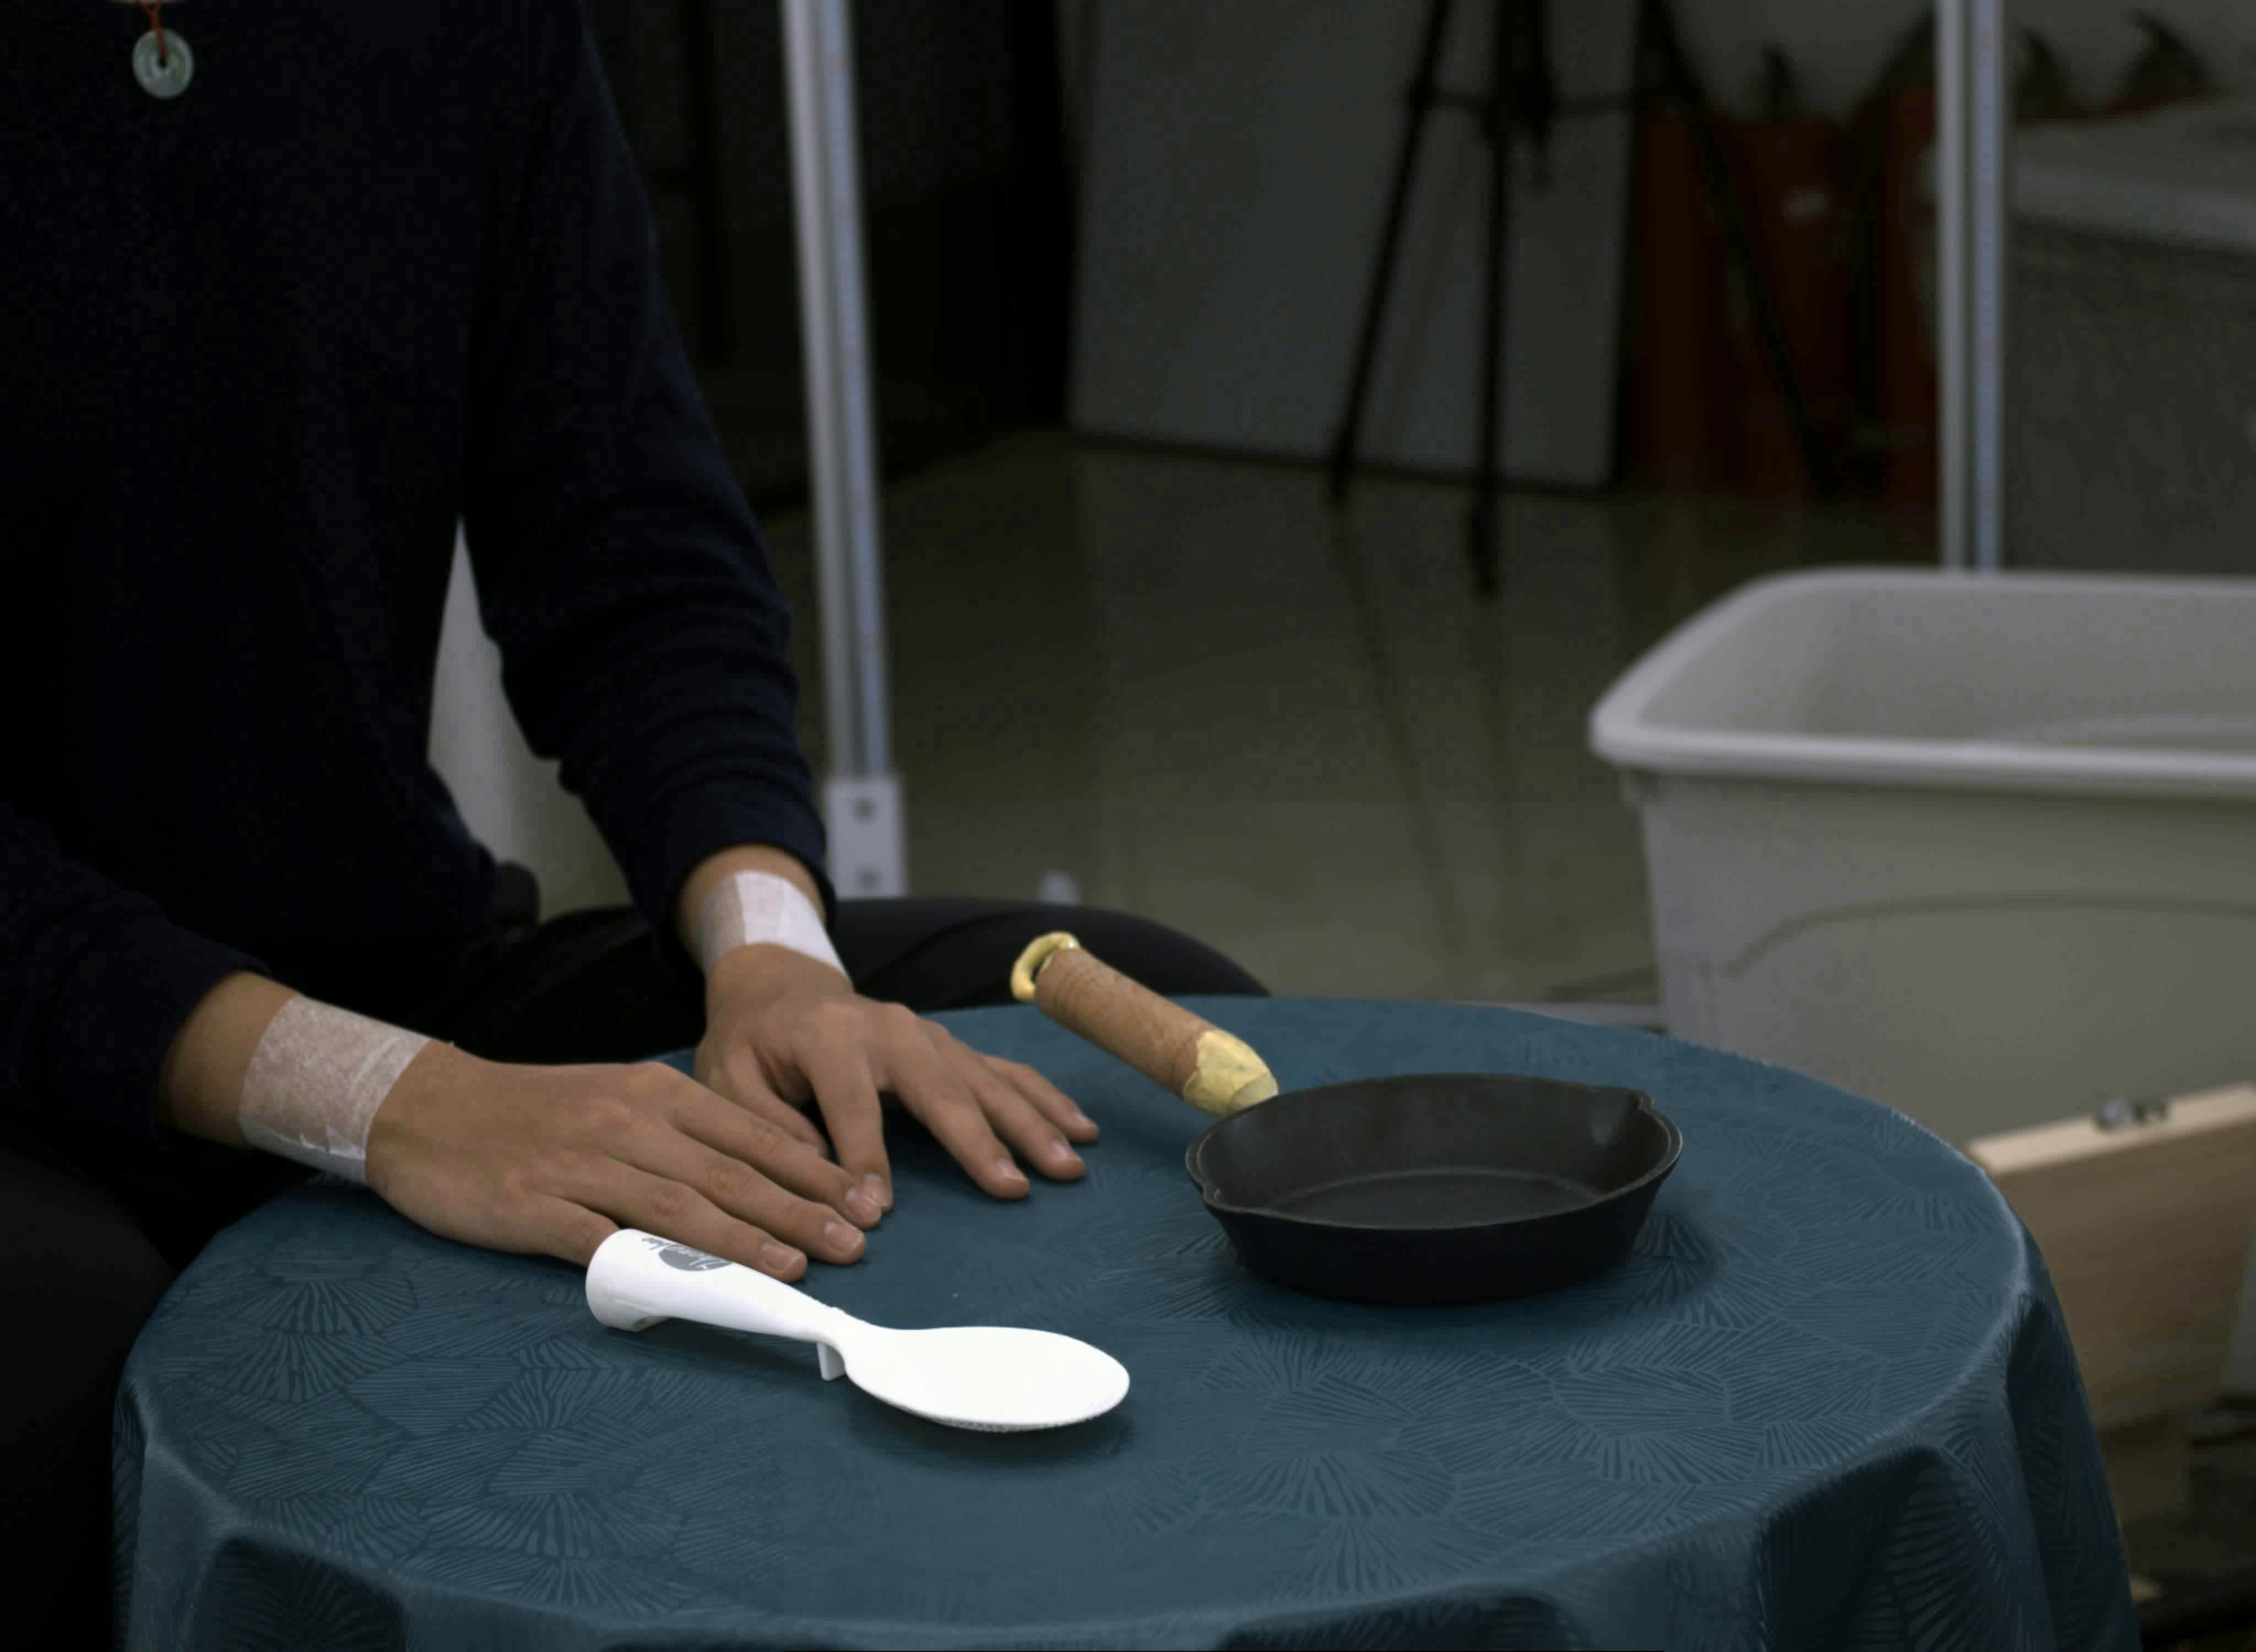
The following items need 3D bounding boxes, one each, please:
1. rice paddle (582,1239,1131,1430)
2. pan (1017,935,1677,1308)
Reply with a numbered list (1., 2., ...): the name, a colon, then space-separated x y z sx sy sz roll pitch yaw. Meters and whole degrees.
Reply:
1. rice paddle: -0.082 0.152 1.608 0.207 0.030 0.067 7 20 42
2. pan: 0.053 0.092 1.765 0.165 0.050 0.327 -12 17 -28
